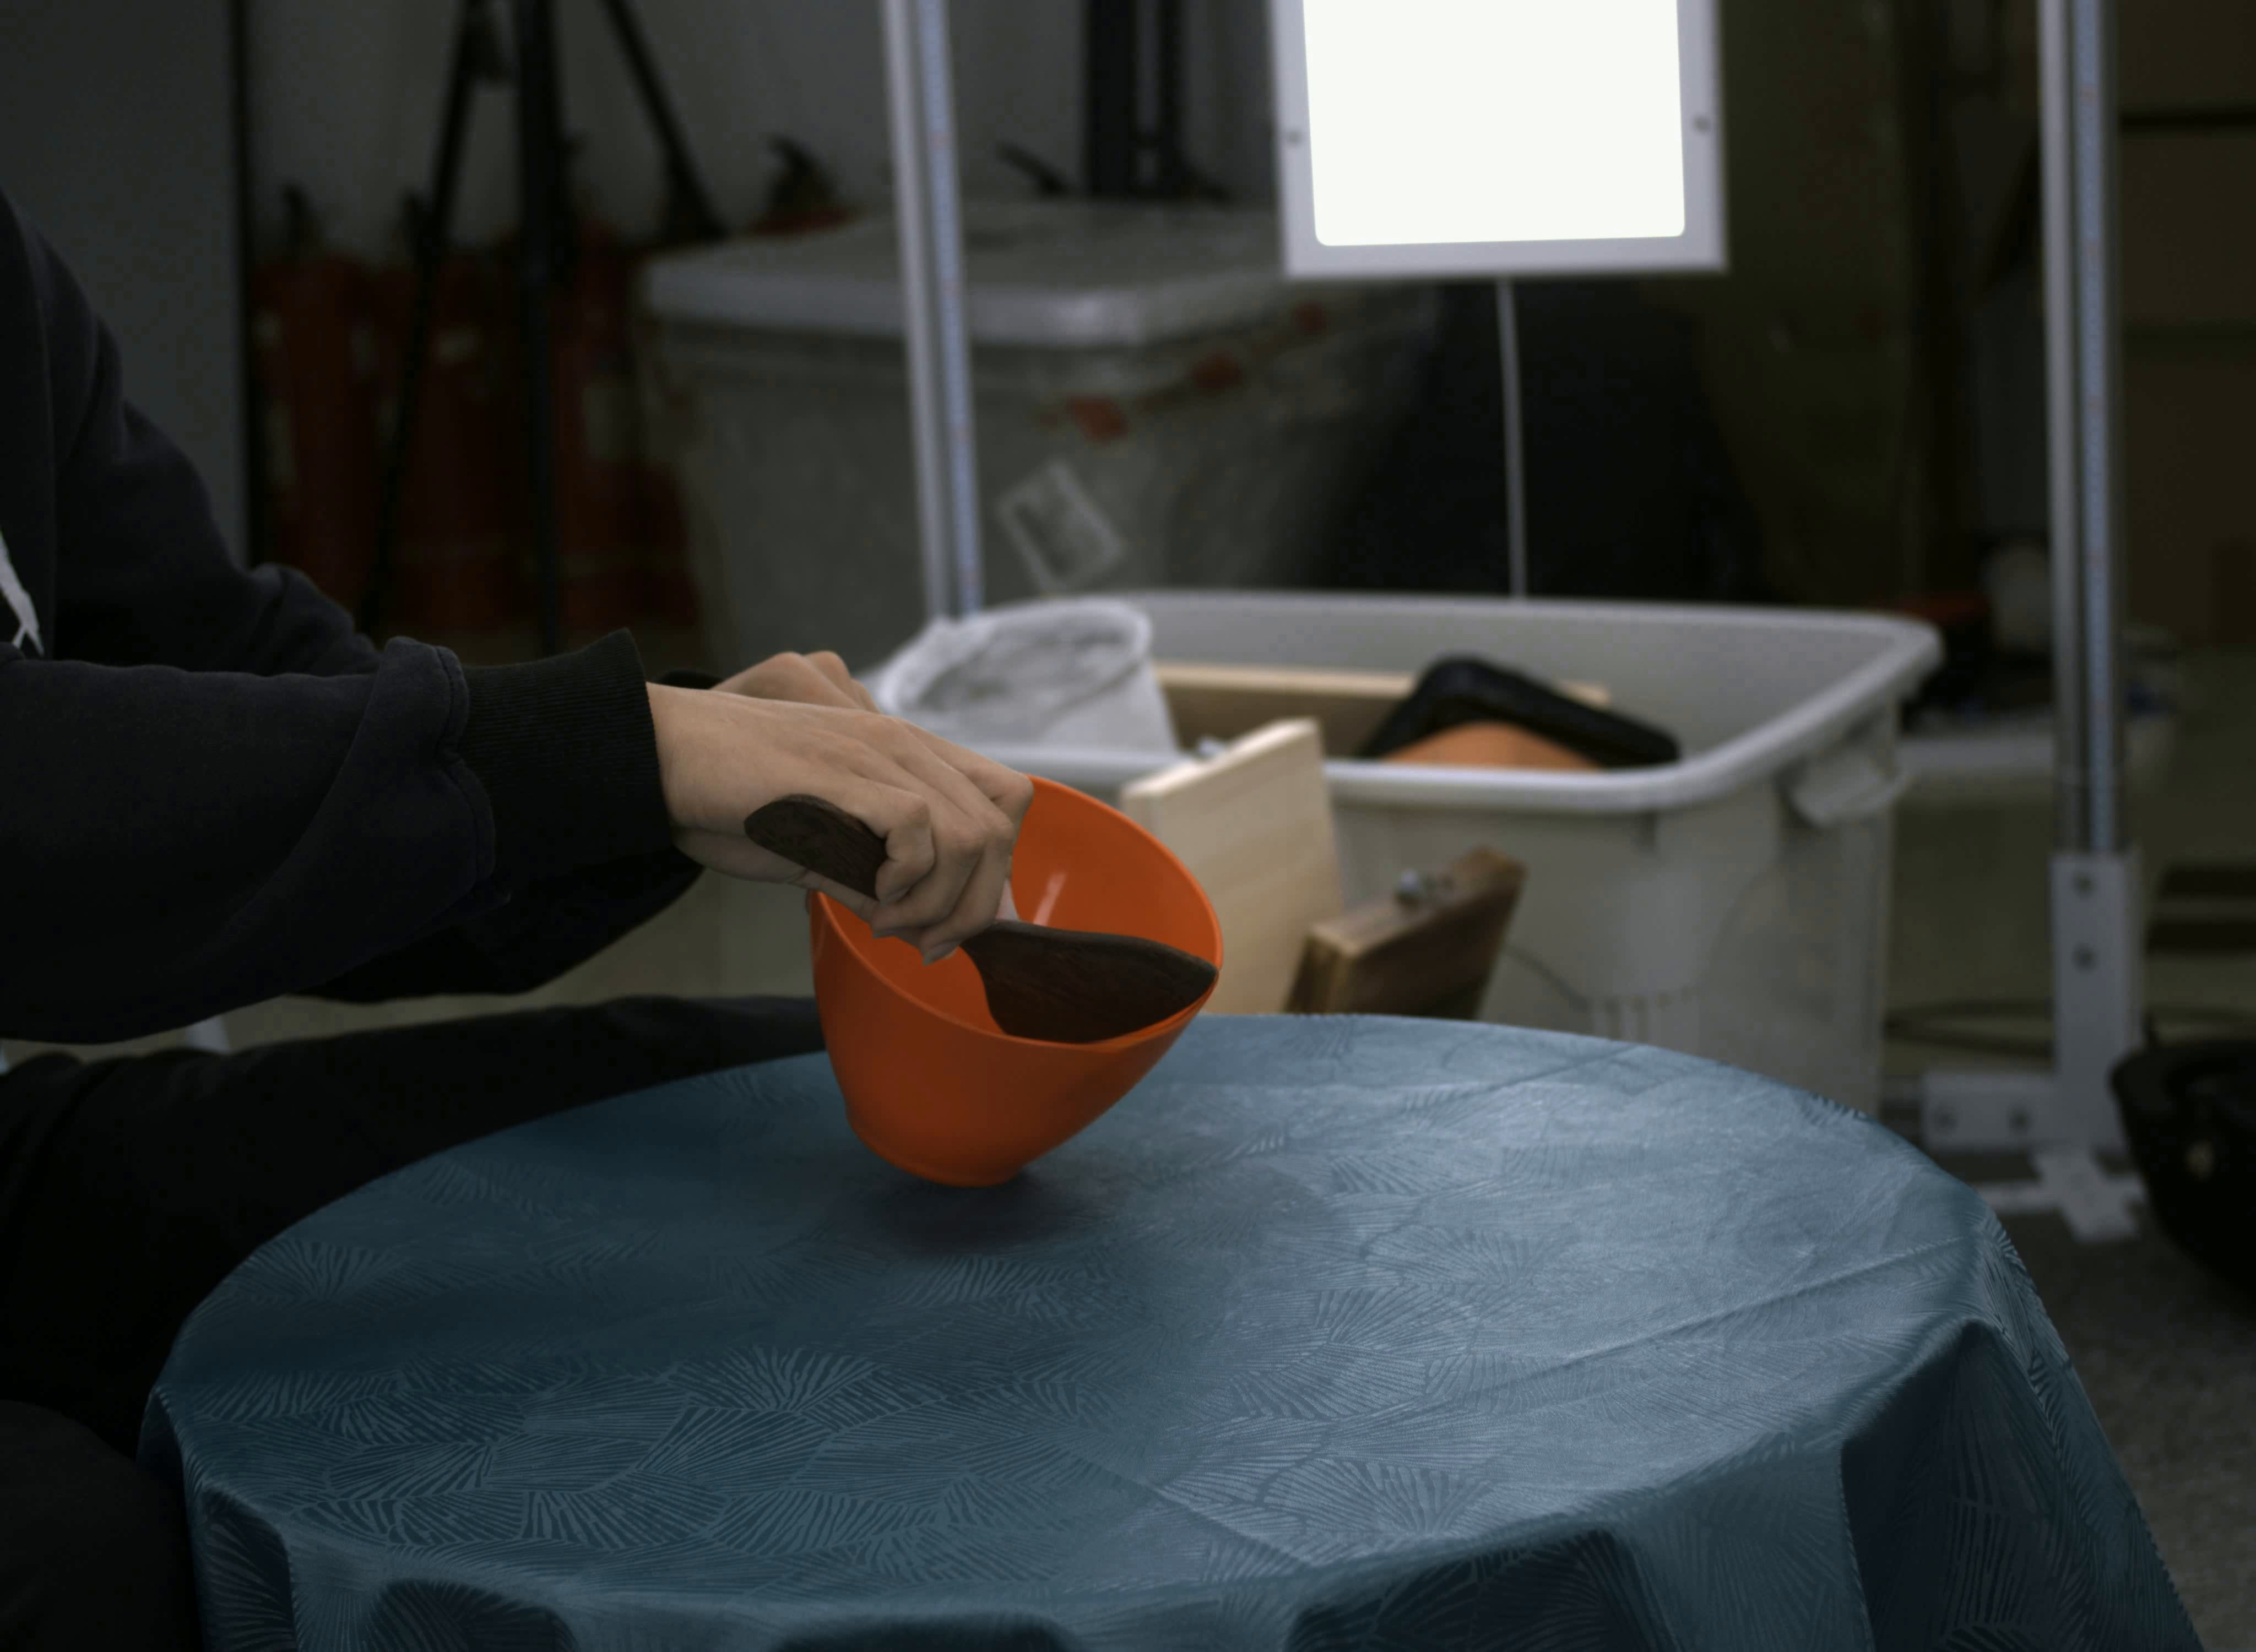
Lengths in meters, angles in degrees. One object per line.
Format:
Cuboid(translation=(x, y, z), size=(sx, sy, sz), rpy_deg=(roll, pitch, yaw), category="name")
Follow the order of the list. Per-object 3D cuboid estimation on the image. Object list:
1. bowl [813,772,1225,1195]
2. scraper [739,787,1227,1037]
Cuboid(translation=(-0.049, 0.063, 1.923), size=(0.146, 0.106, 0.147), rpy_deg=(15, 27, -9), category="bowl")
Cuboid(translation=(-0.053, 0.032, 1.826), size=(0.077, 0.011, 0.207), rpy_deg=(-29, -39, 28), category="scraper")
